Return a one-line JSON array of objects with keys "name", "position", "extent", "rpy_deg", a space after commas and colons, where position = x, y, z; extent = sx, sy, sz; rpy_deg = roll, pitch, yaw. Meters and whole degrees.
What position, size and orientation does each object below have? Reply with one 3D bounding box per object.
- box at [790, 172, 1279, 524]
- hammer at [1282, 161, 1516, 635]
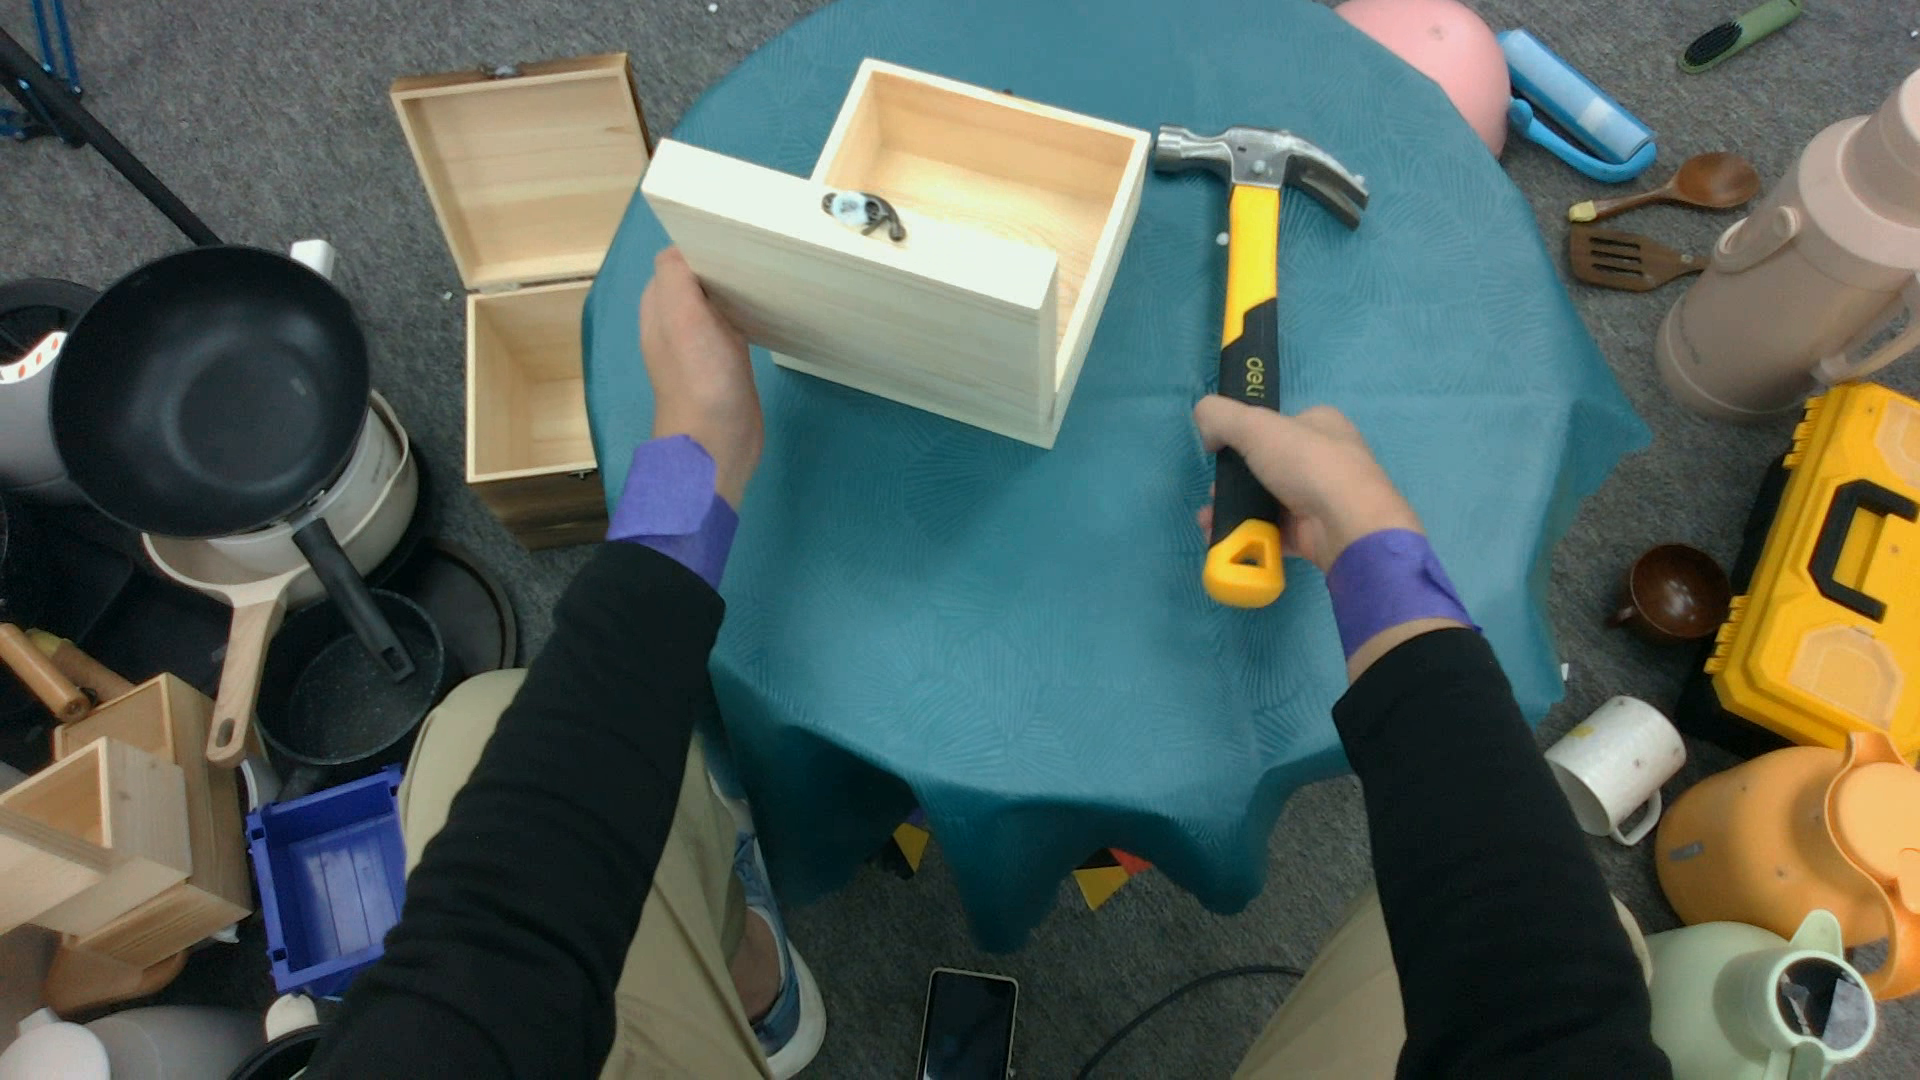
[{"name": "box", "position": [0.062, -0.125, 0.741], "extent": [0.181, 0.252, 0.266], "rpy_deg": [9, 67, 15]}, {"name": "hammer", "position": [0.261, -0.096, 0.774], "extent": [0.131, 0.032, 0.340], "rpy_deg": [-4, 53, 11]}]
